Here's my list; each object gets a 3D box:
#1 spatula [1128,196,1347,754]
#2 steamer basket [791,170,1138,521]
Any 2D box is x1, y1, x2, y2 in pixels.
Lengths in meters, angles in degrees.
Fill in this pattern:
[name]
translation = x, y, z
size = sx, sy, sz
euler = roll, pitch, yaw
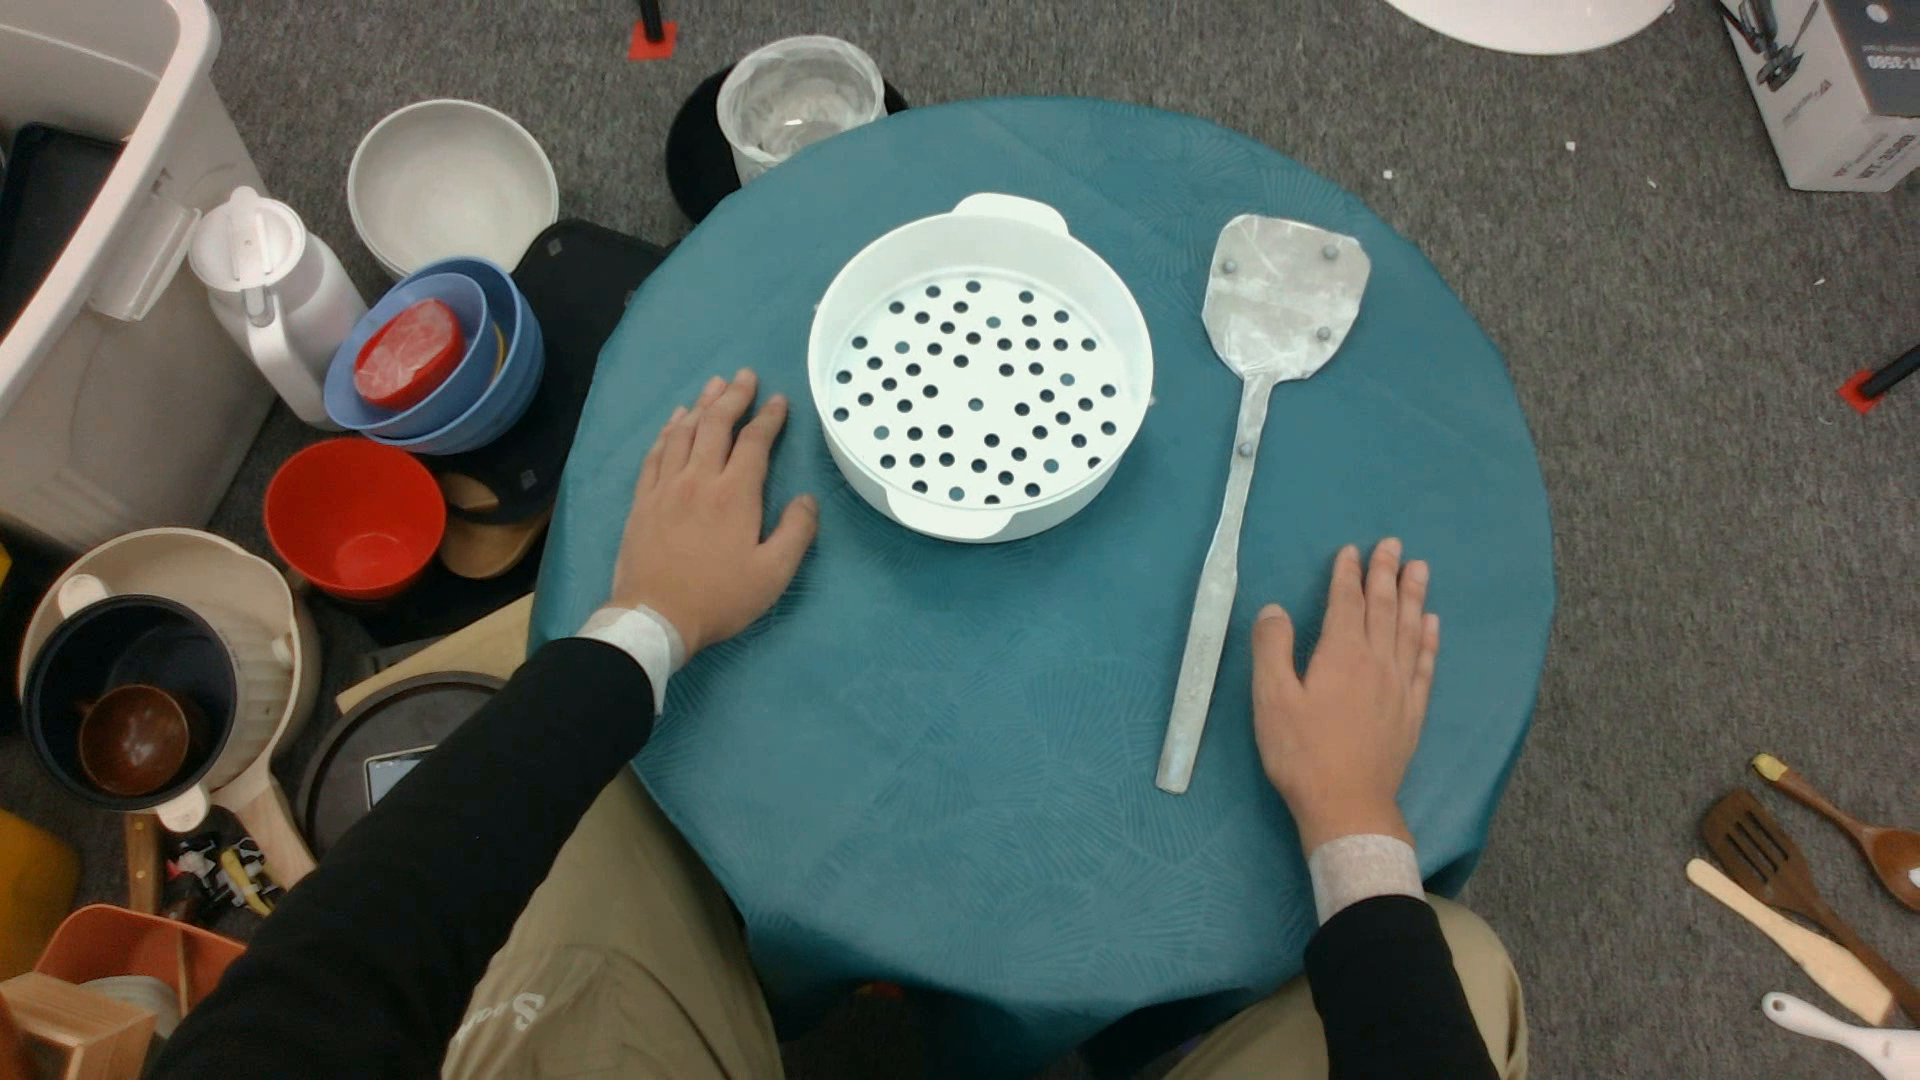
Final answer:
[spatula]
translation = 0.155, -0.045, 0.826
size = 0.099, 0.044, 0.366
euler = 16, 67, 1
[steamer basket]
translation = 0.002, -0.109, 0.825
size = 0.202, 0.069, 0.231
euler = 11, 68, 2
